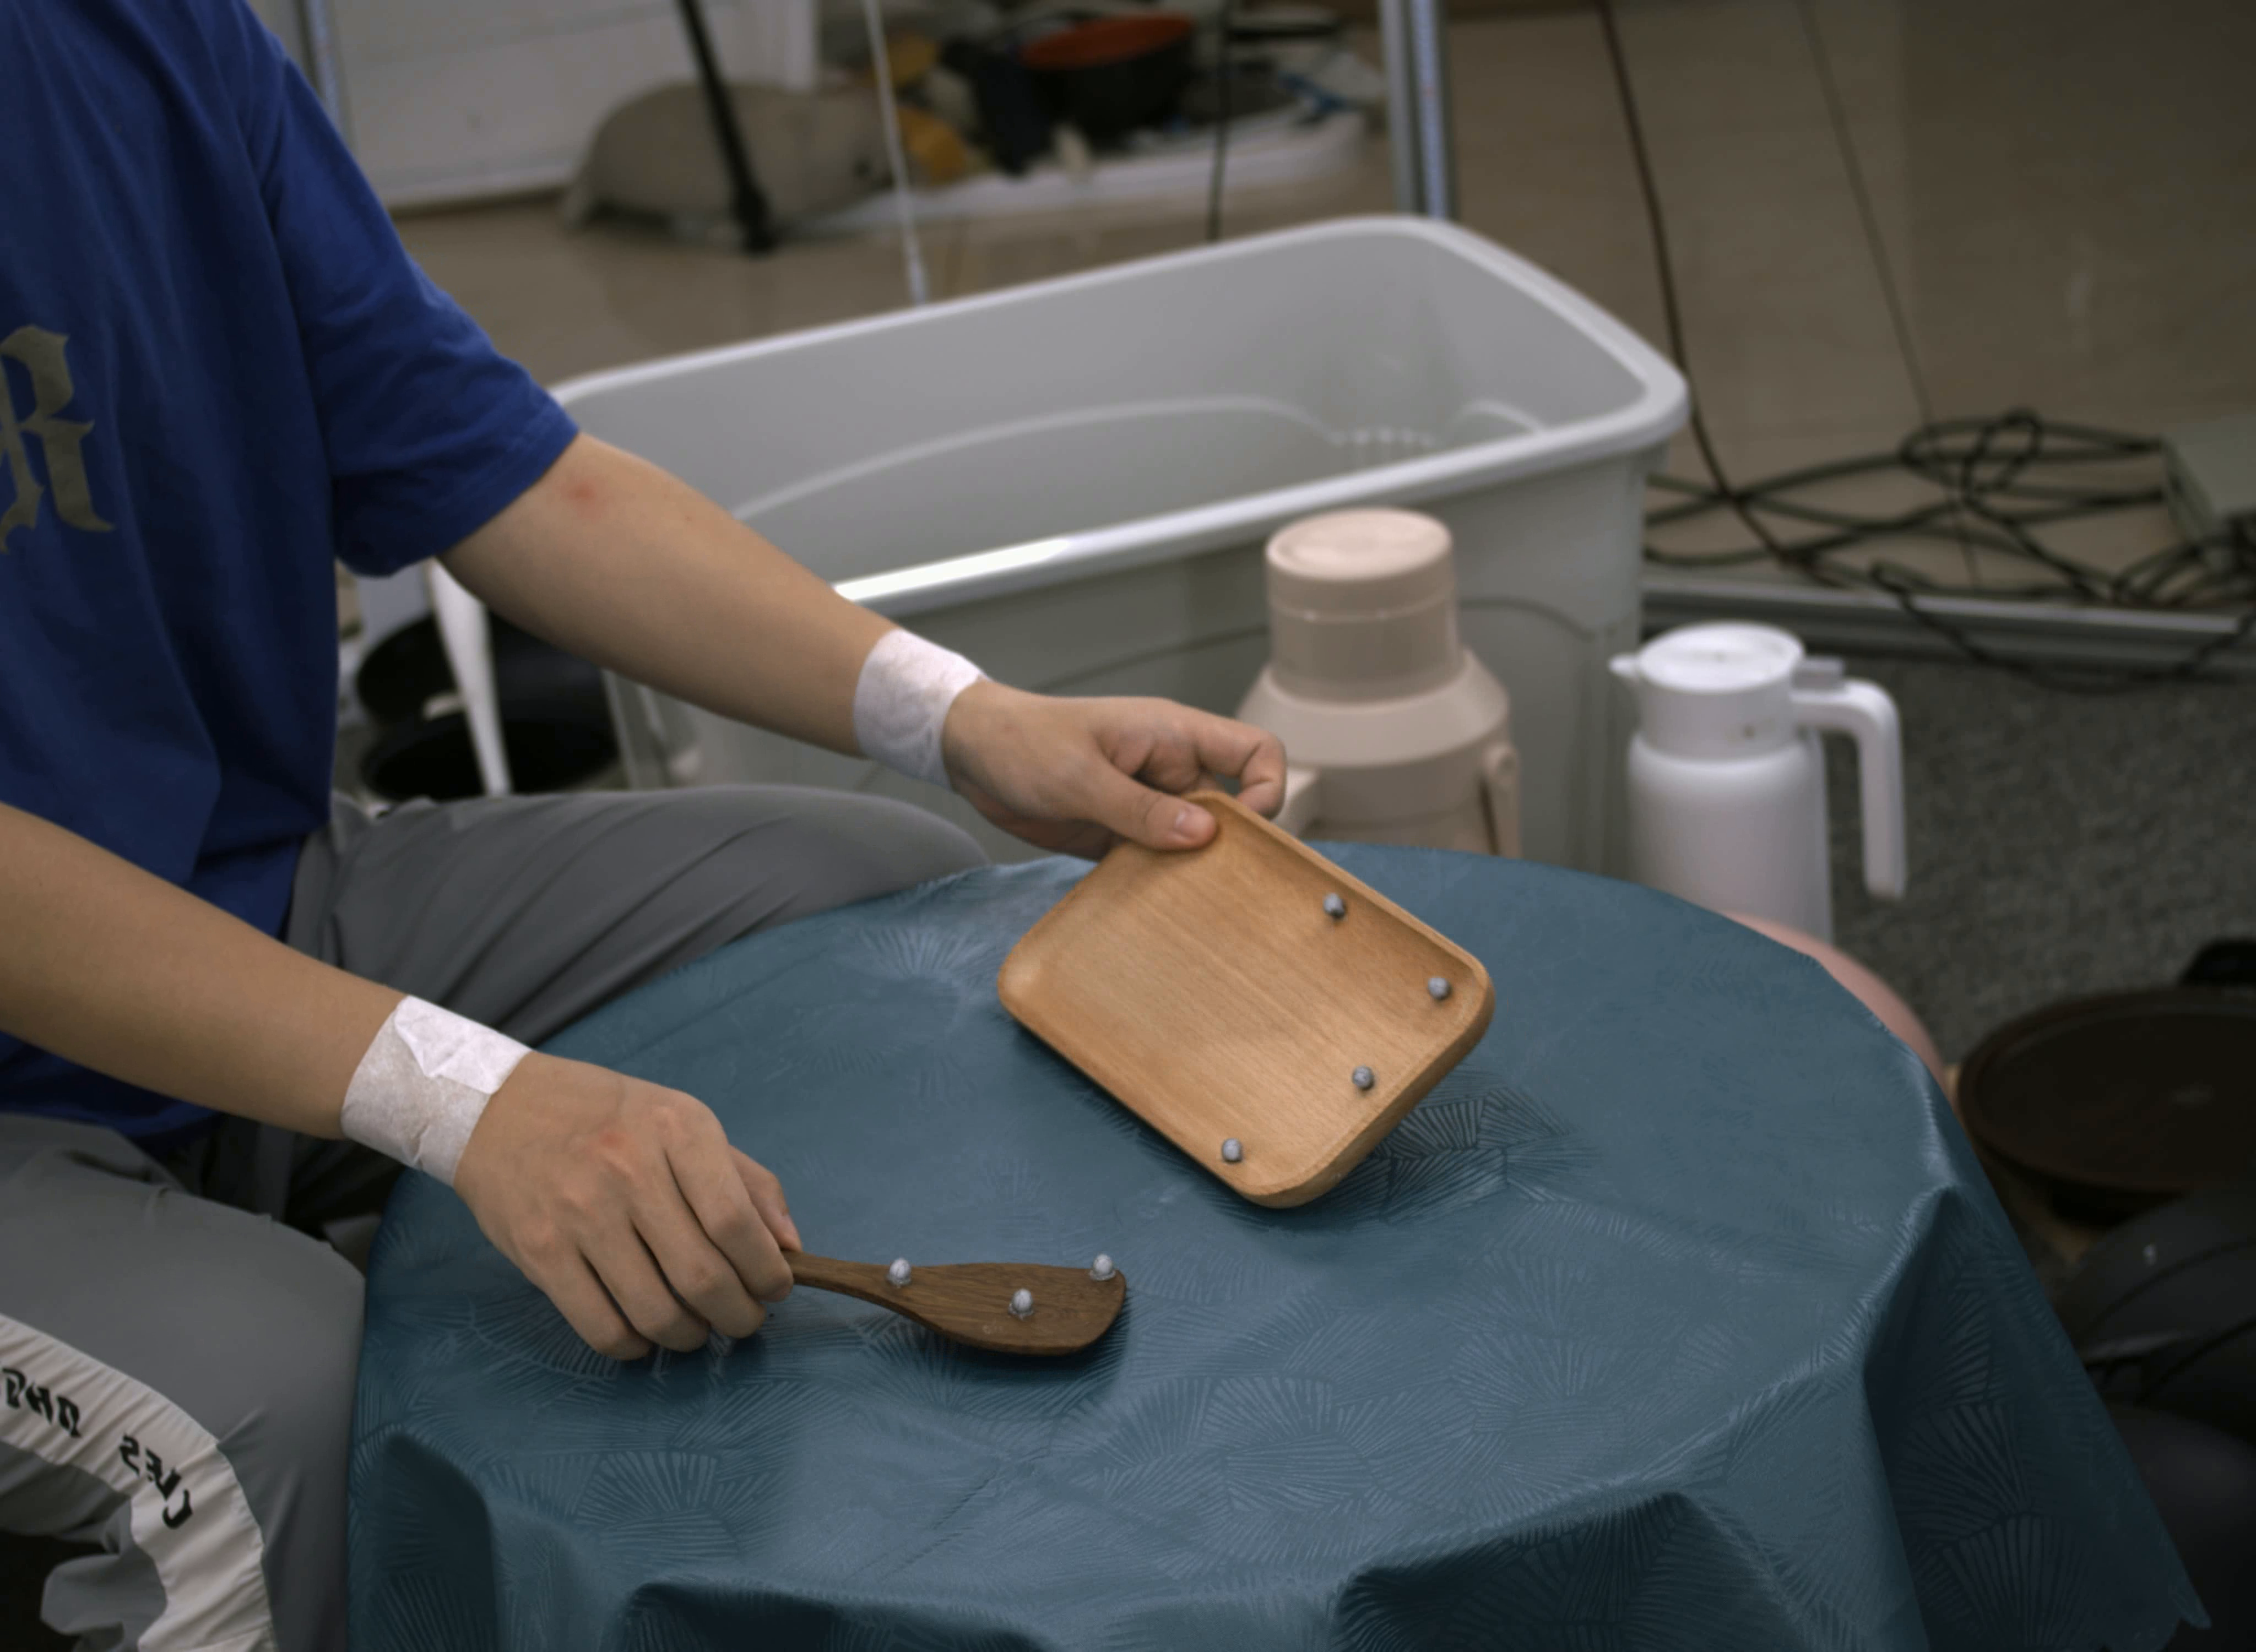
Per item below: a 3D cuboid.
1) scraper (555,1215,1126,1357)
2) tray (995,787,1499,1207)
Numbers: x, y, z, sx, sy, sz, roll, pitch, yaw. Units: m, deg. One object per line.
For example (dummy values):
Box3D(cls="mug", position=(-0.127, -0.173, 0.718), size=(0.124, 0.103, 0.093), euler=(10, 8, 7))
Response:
Box3D(cls="scraper", position=(-0.106, 0.164, 2.072), size=(0.211, 0.011, 0.075), euler=(9, 21, 10))
Box3D(cls="tray", position=(0.044, 0.065, 2.212), size=(0.130, 0.023, 0.248), euler=(-41, 33, -9))
